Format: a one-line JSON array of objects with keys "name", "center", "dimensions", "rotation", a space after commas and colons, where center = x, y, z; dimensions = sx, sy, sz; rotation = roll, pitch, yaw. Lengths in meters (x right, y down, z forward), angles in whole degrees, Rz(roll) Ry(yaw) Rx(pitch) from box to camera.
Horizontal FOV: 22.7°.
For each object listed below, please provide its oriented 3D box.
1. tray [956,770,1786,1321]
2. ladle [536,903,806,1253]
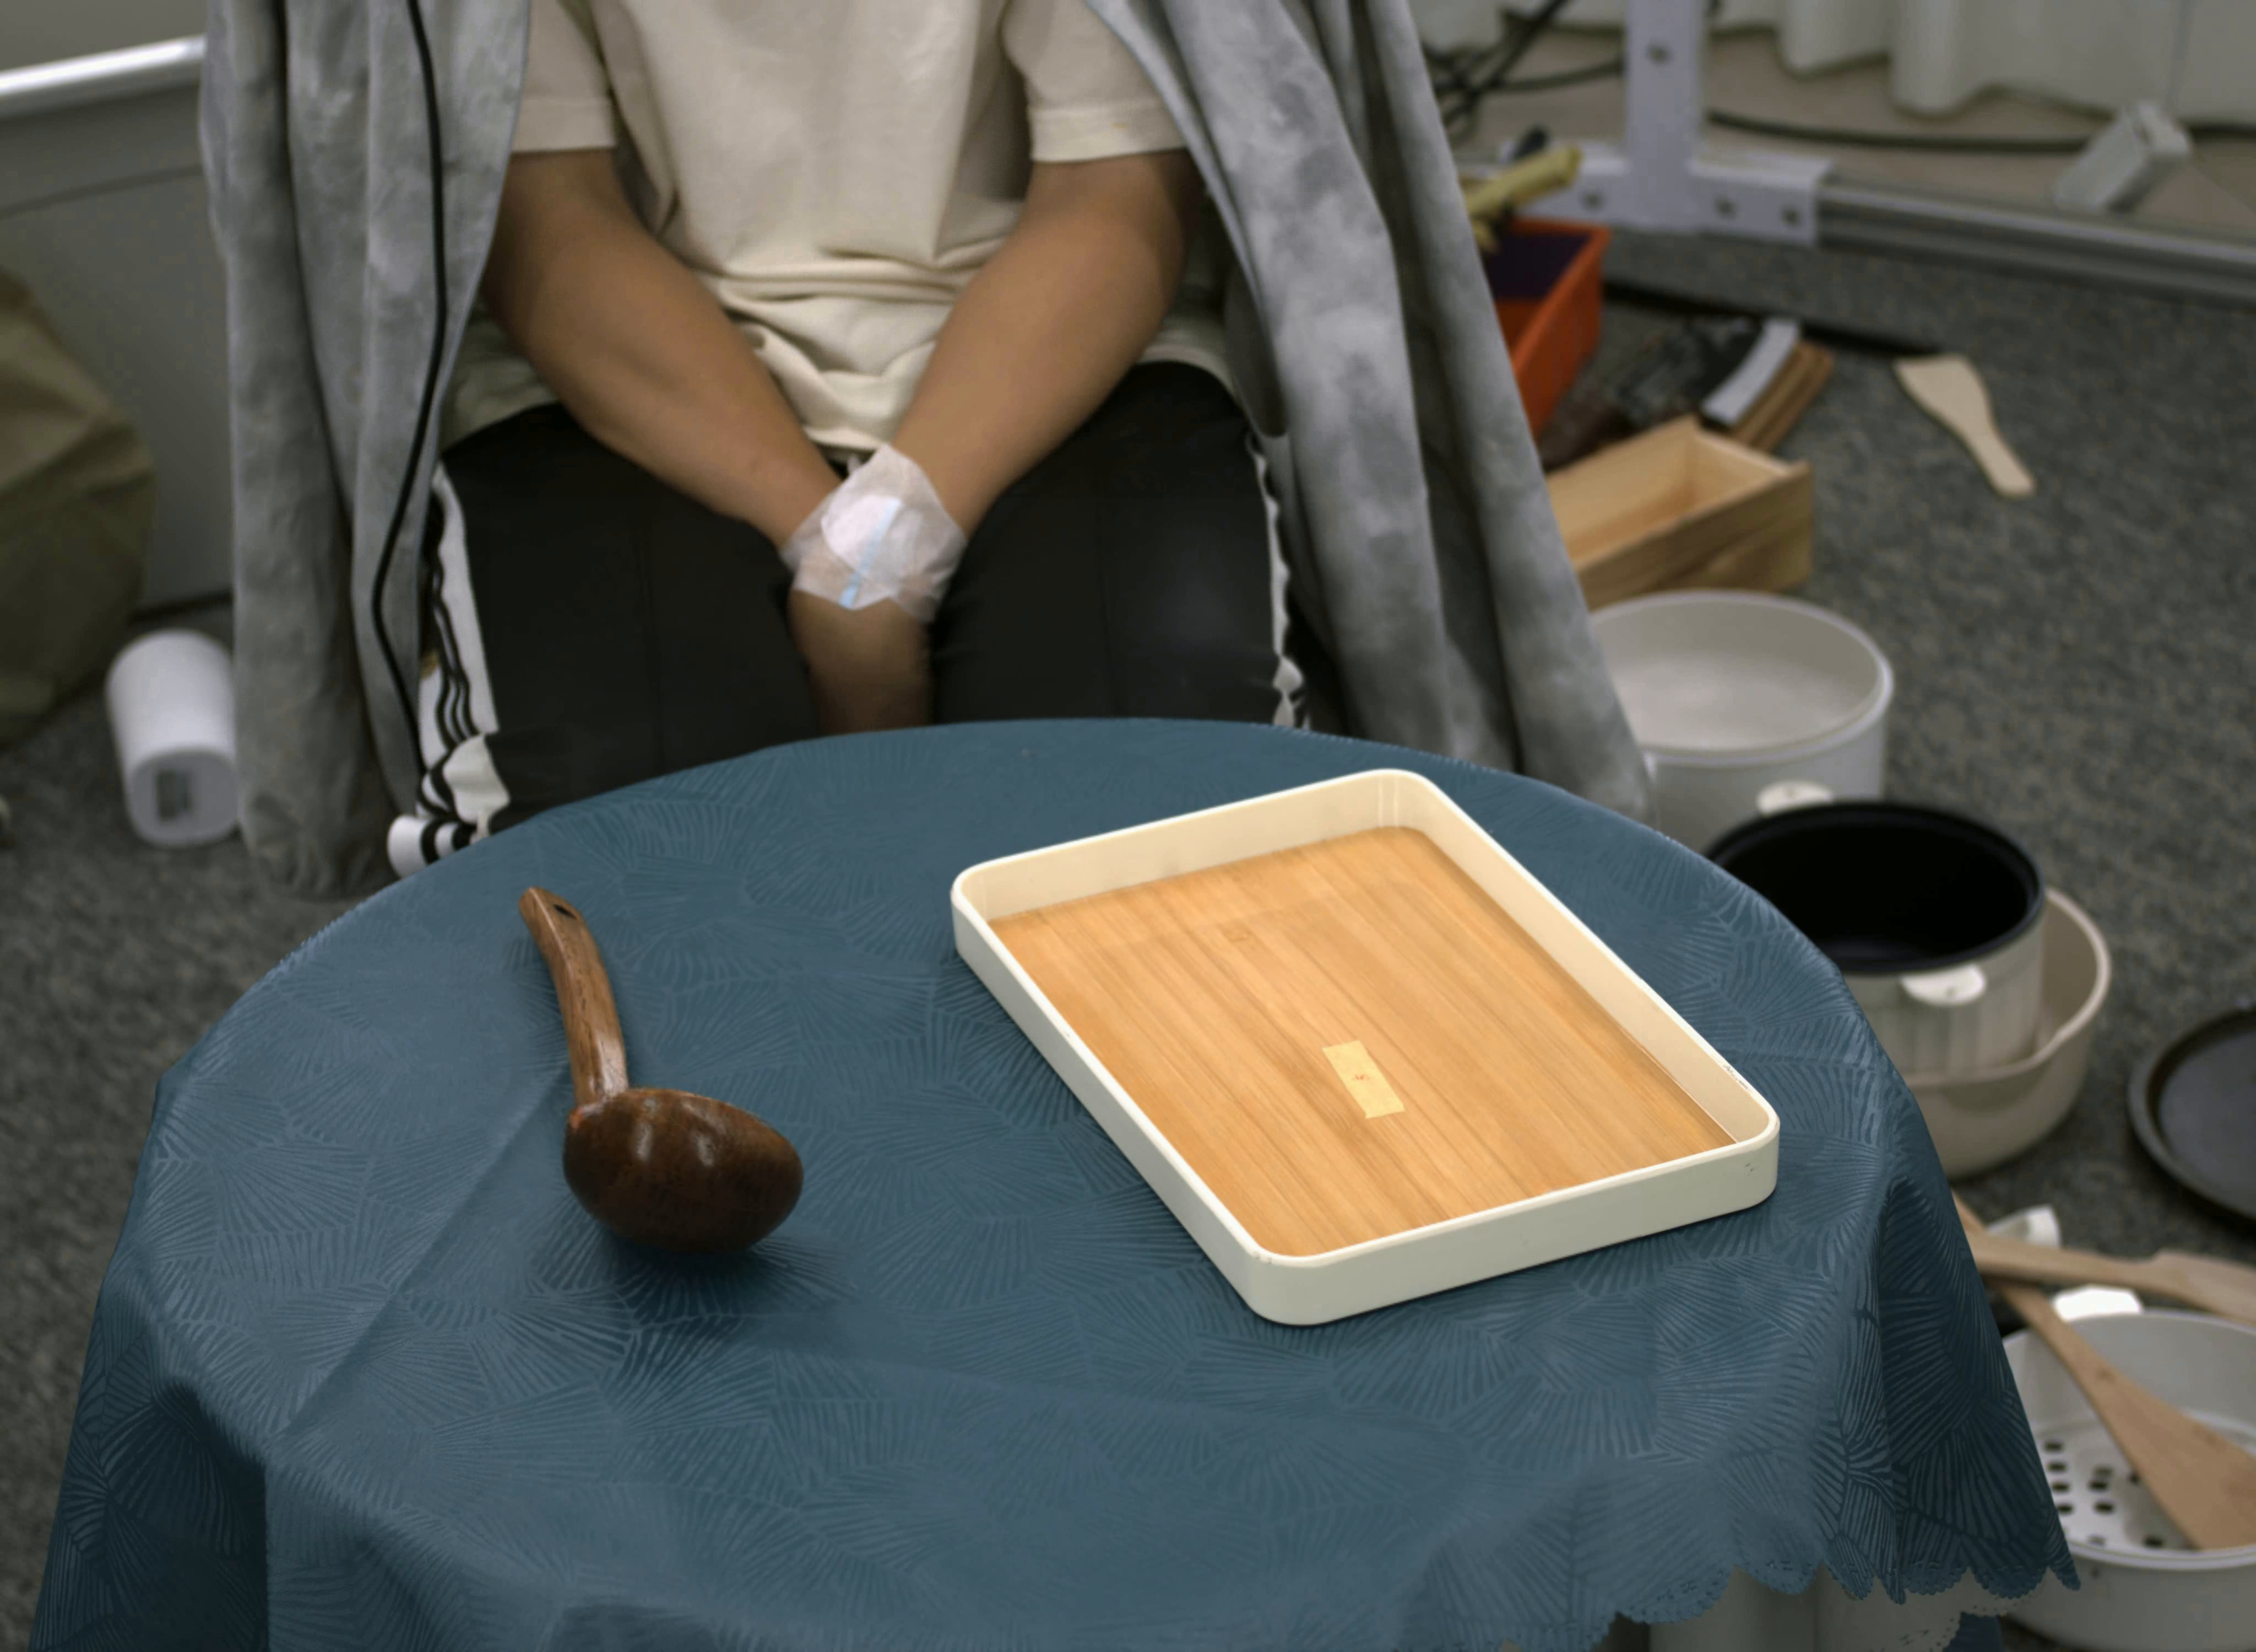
[{"name": "tray", "center": [0.077, 0.069, 1.924], "dimensions": [0.192, 0.027, 0.302], "rotation": [-13, 29, -18]}, {"name": "ladle", "center": [-0.165, 0.066, 1.910], "dimensions": [0.081, 0.076, 0.277], "rotation": [33, 15, -22]}]
